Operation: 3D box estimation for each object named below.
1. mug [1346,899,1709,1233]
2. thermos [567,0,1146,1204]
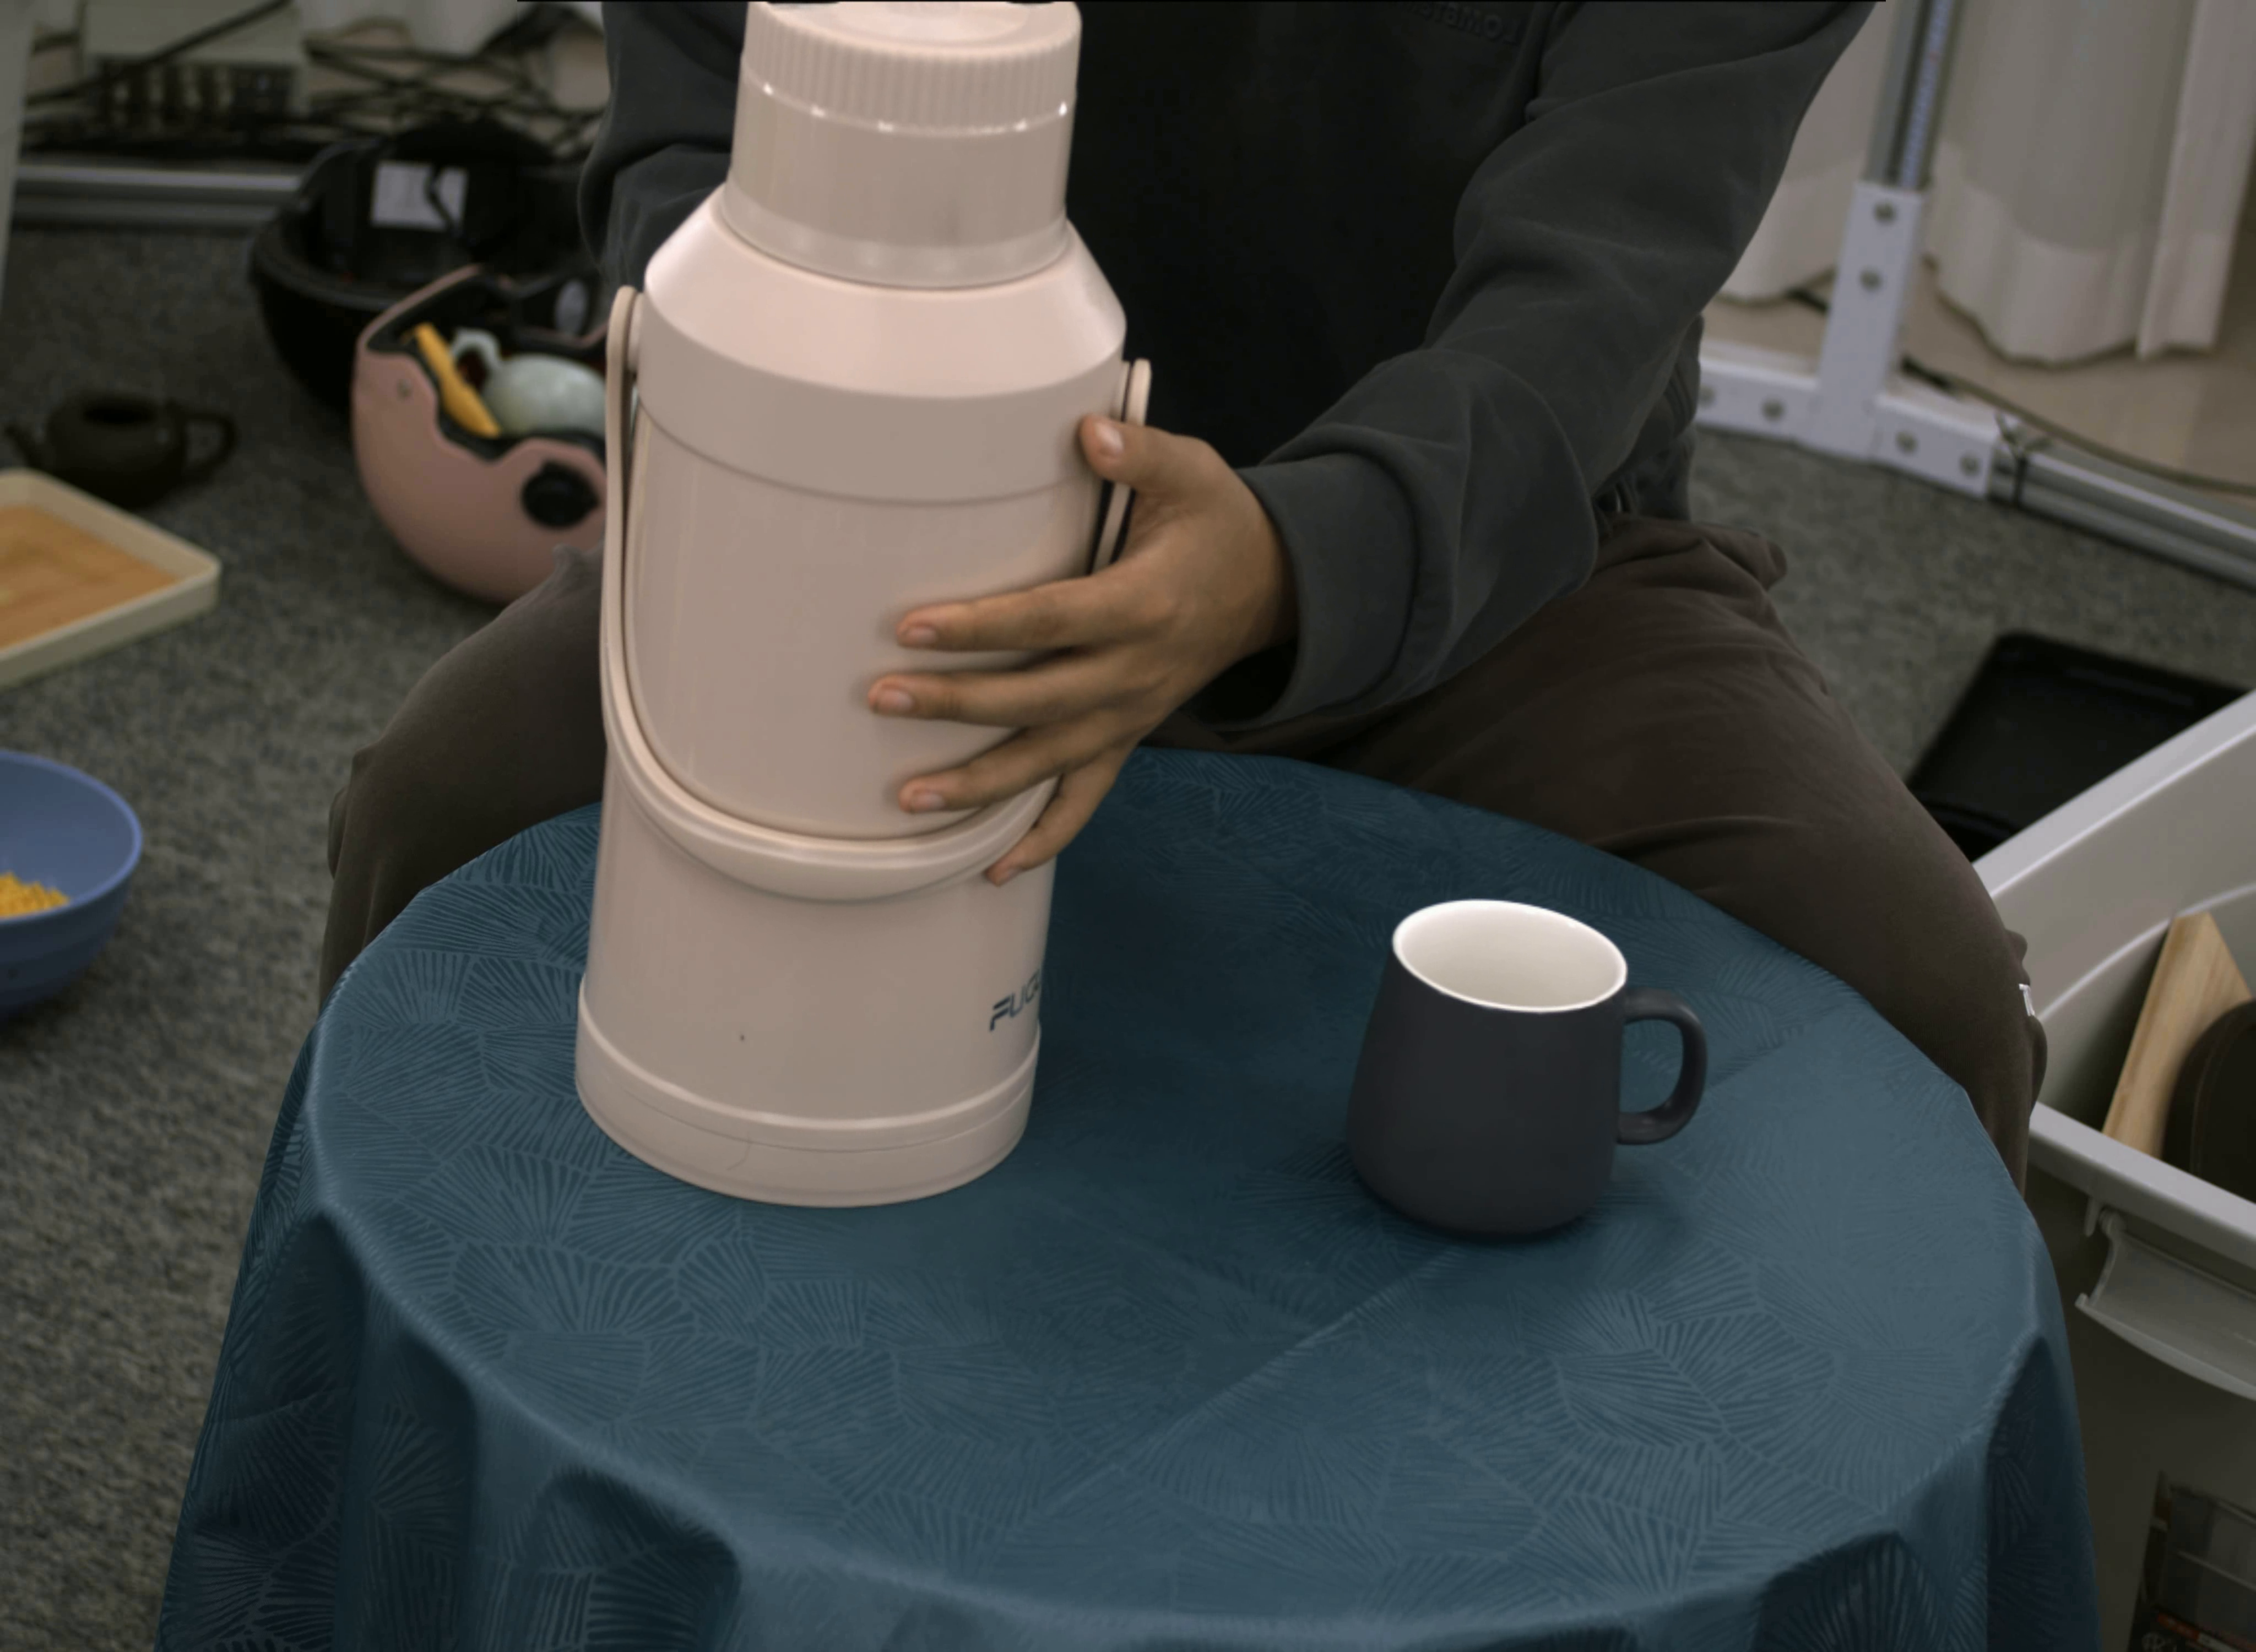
[{"bbox_3d":[0.139,0.083,1.819,0.122,0.089,0.094,2,27,-11],"label":"mug"},{"bbox_3d":[-0.089,-0.091,1.769,0.175,0.405,0.208,8,27,1],"label":"thermos"}]
